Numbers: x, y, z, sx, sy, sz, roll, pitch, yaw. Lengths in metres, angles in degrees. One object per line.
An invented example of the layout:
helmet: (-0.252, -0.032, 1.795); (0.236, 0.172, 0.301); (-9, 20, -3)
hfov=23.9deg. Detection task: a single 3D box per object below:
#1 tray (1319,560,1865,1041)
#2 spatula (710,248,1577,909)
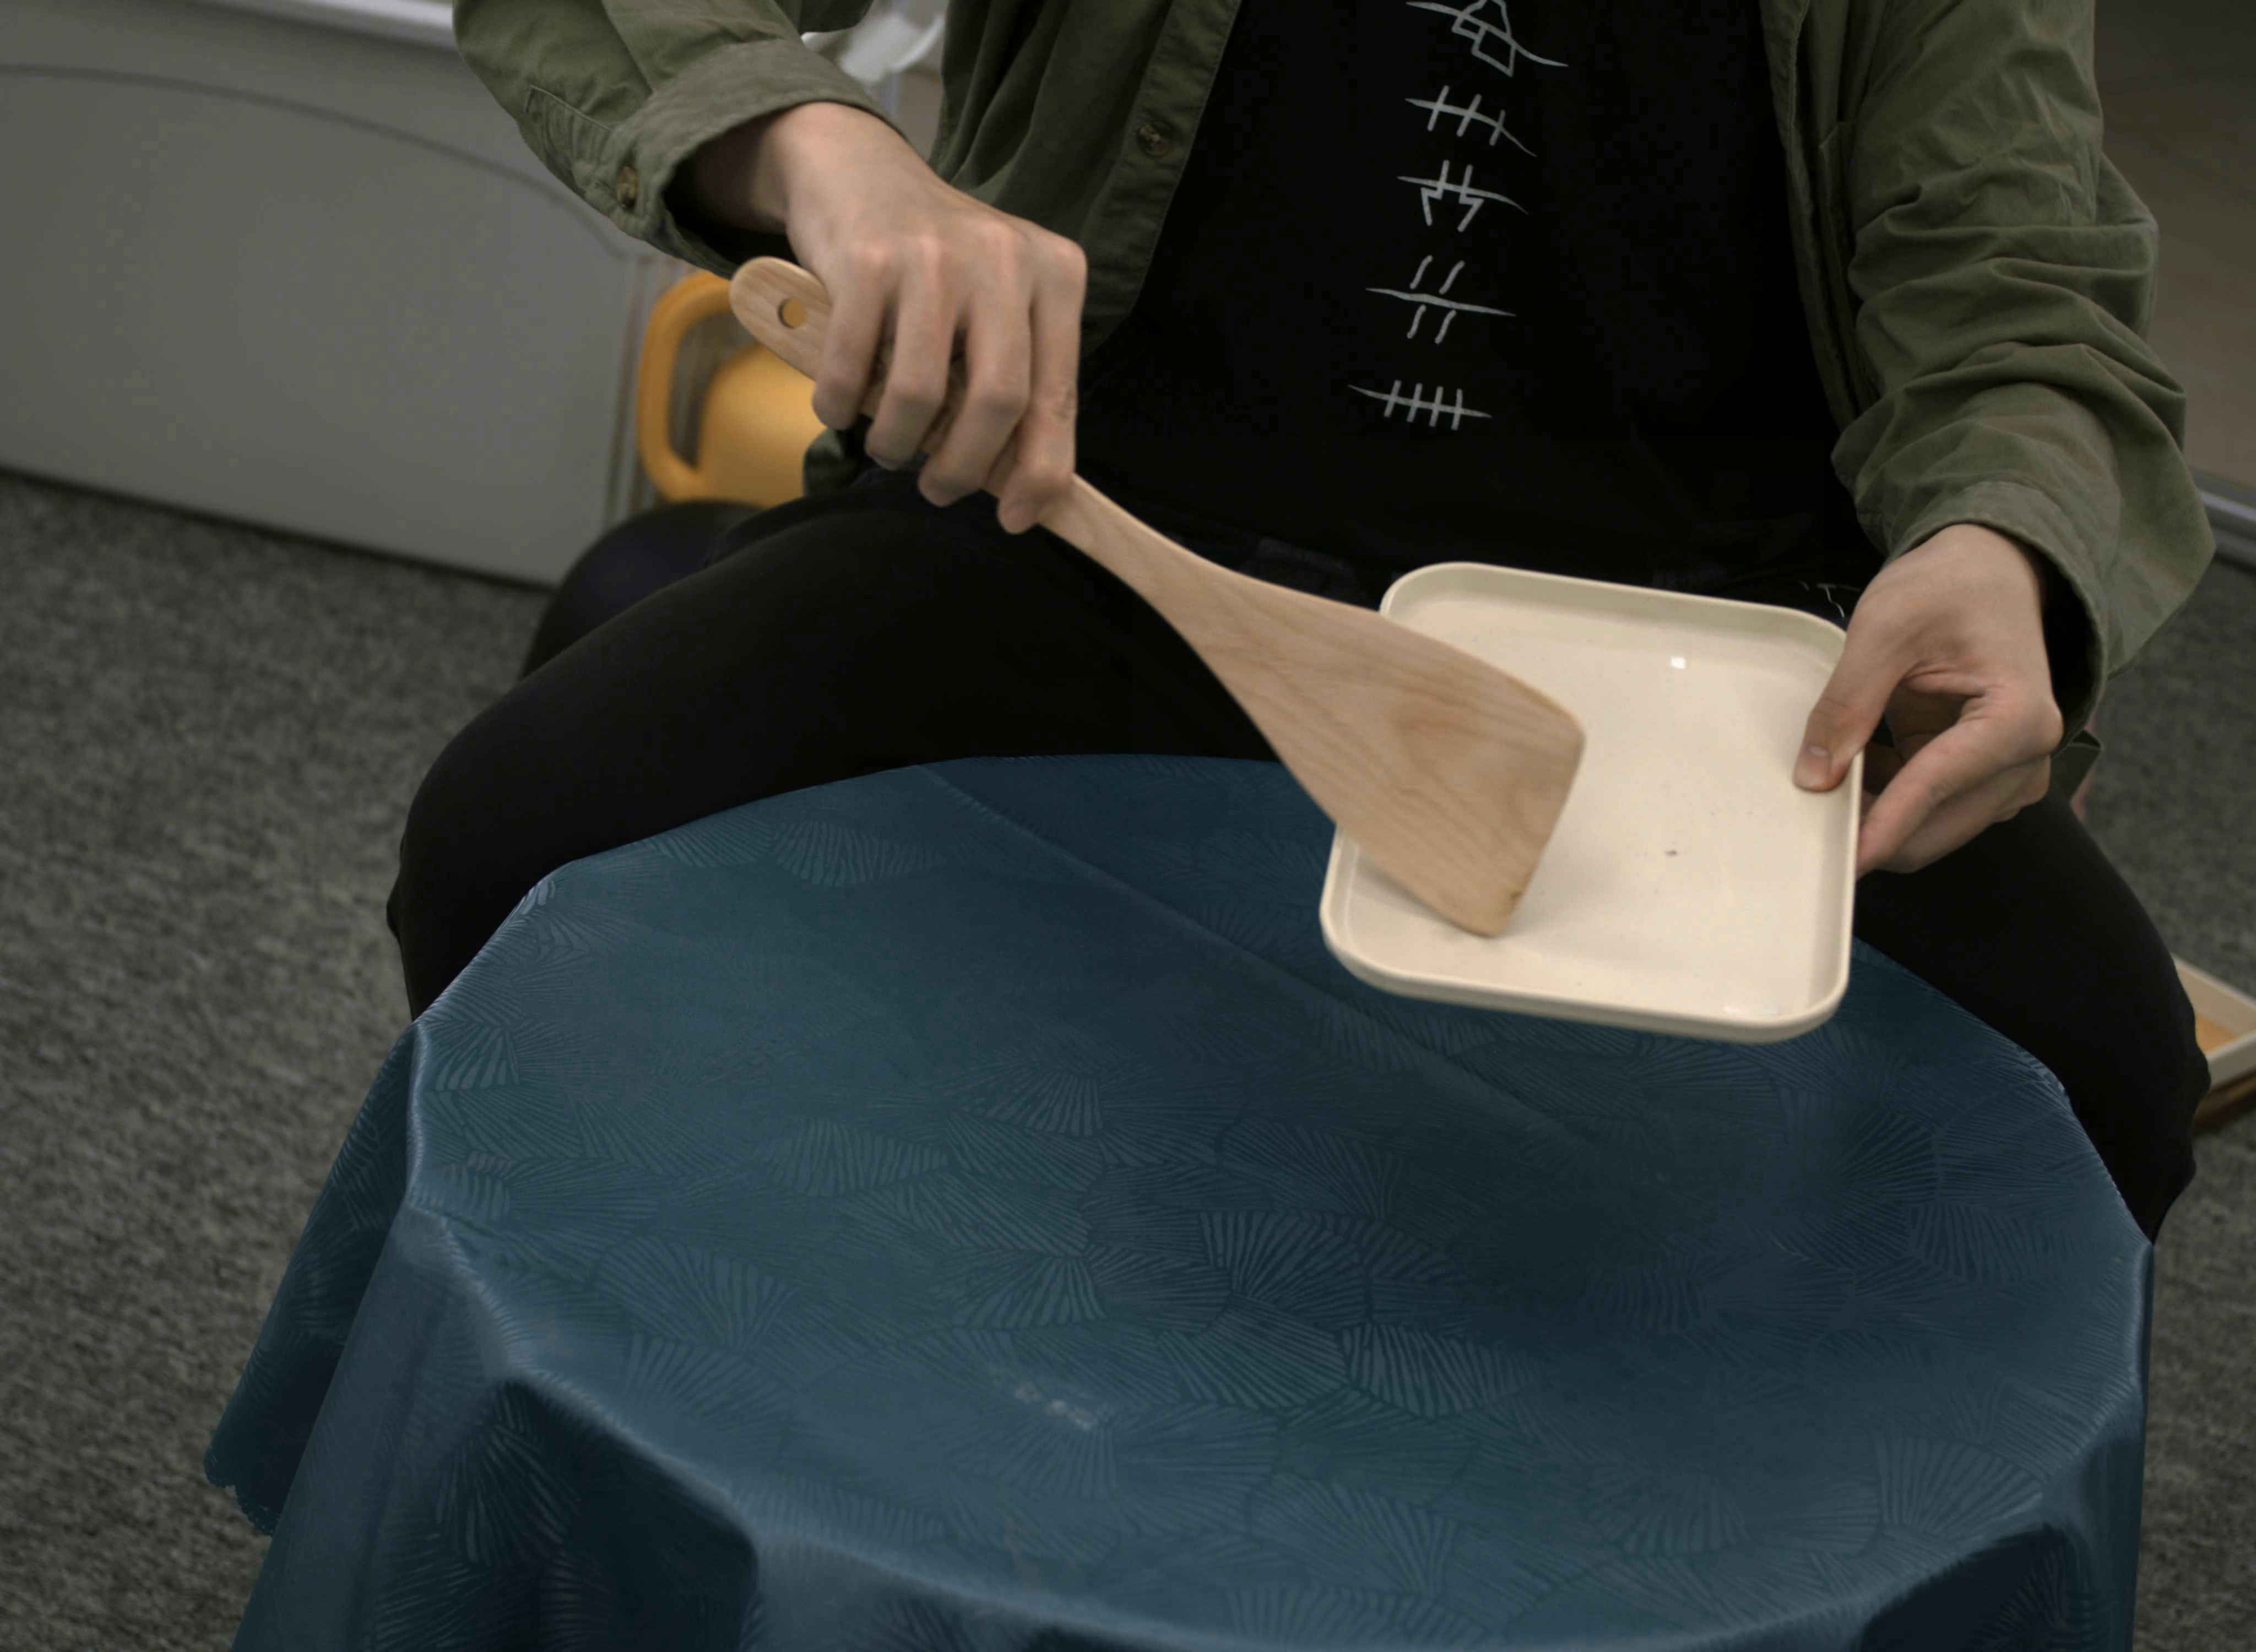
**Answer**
tray: (0.156, -0.010, 1.766); (0.171, 0.017, 0.241); (9, 36, 5)
spatula: (0.001, -0.093, 1.721); (0.328, 0.080, 0.016); (34, 14, 5)
